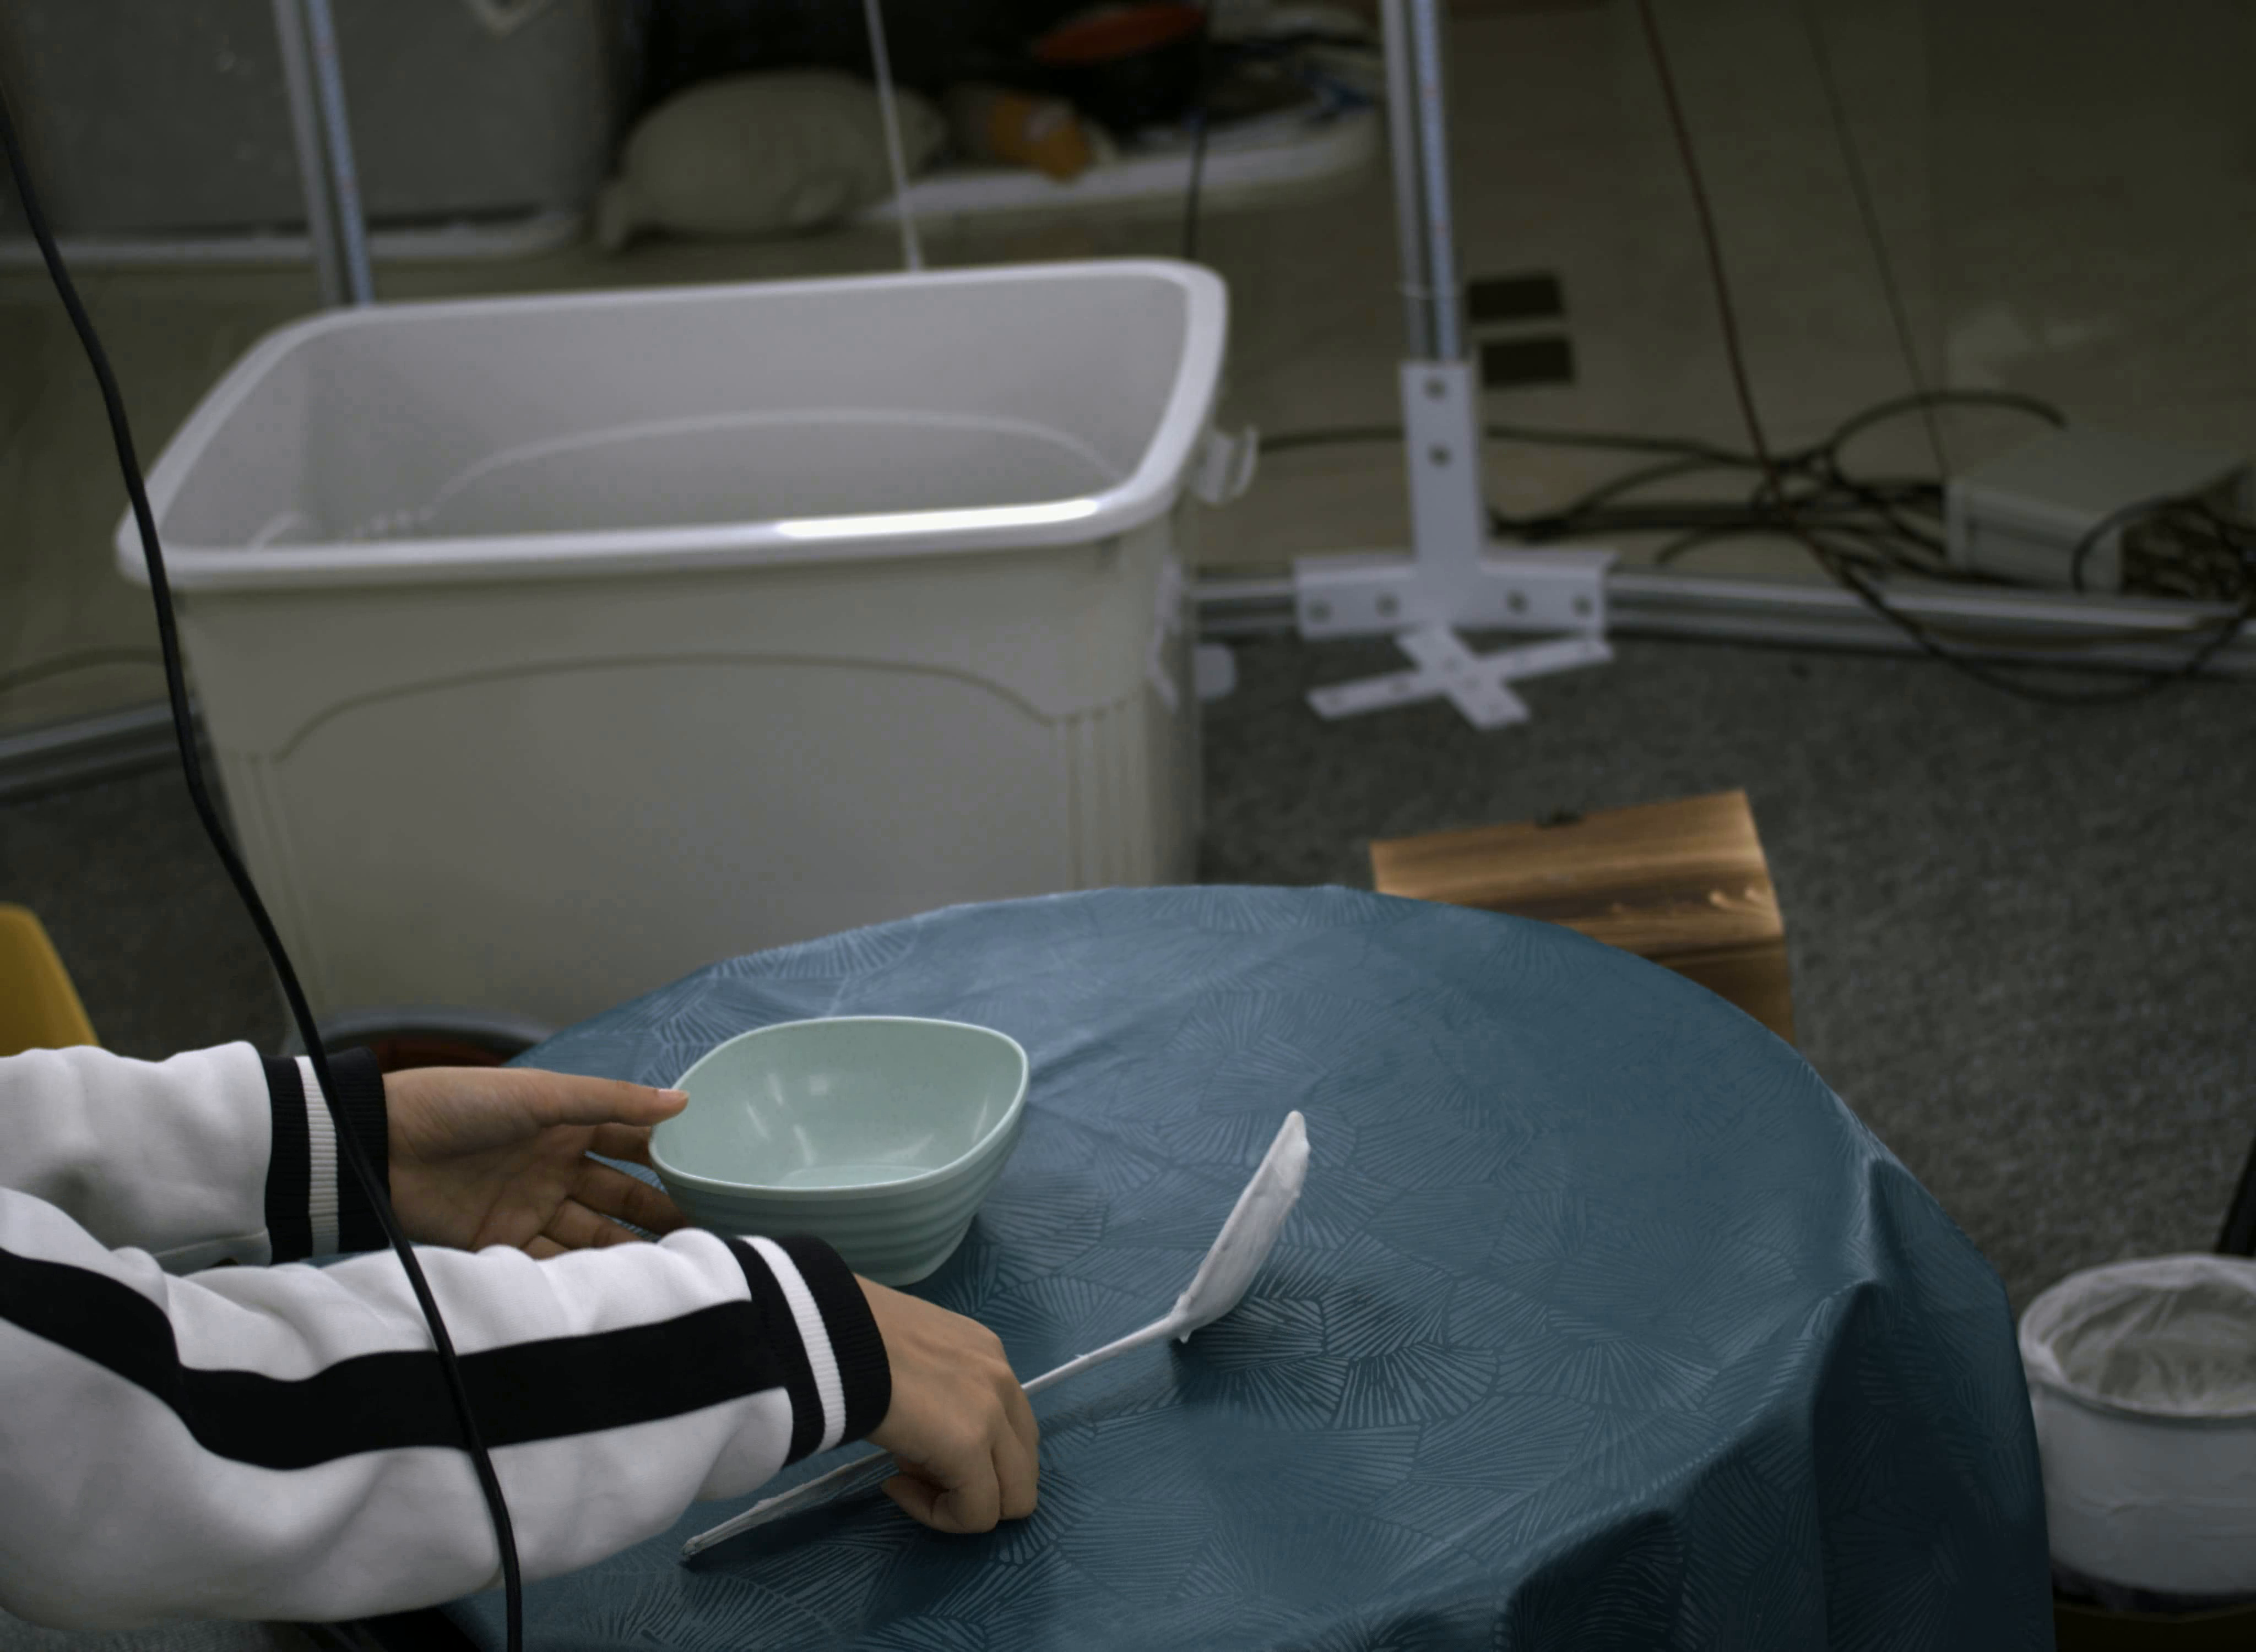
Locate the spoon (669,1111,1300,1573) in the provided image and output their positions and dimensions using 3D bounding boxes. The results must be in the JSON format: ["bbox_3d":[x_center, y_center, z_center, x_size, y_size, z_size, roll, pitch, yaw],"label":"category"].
[{"bbox_3d":[-0.050,0.183,2.007,0.276,0.102,0.059,-24,68,-18],"label":"spoon"}]

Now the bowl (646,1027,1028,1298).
[{"bbox_3d":[-0.105,0.131,2.129,0.151,0.059,0.149,-6,25,3],"label":"bowl"}]
